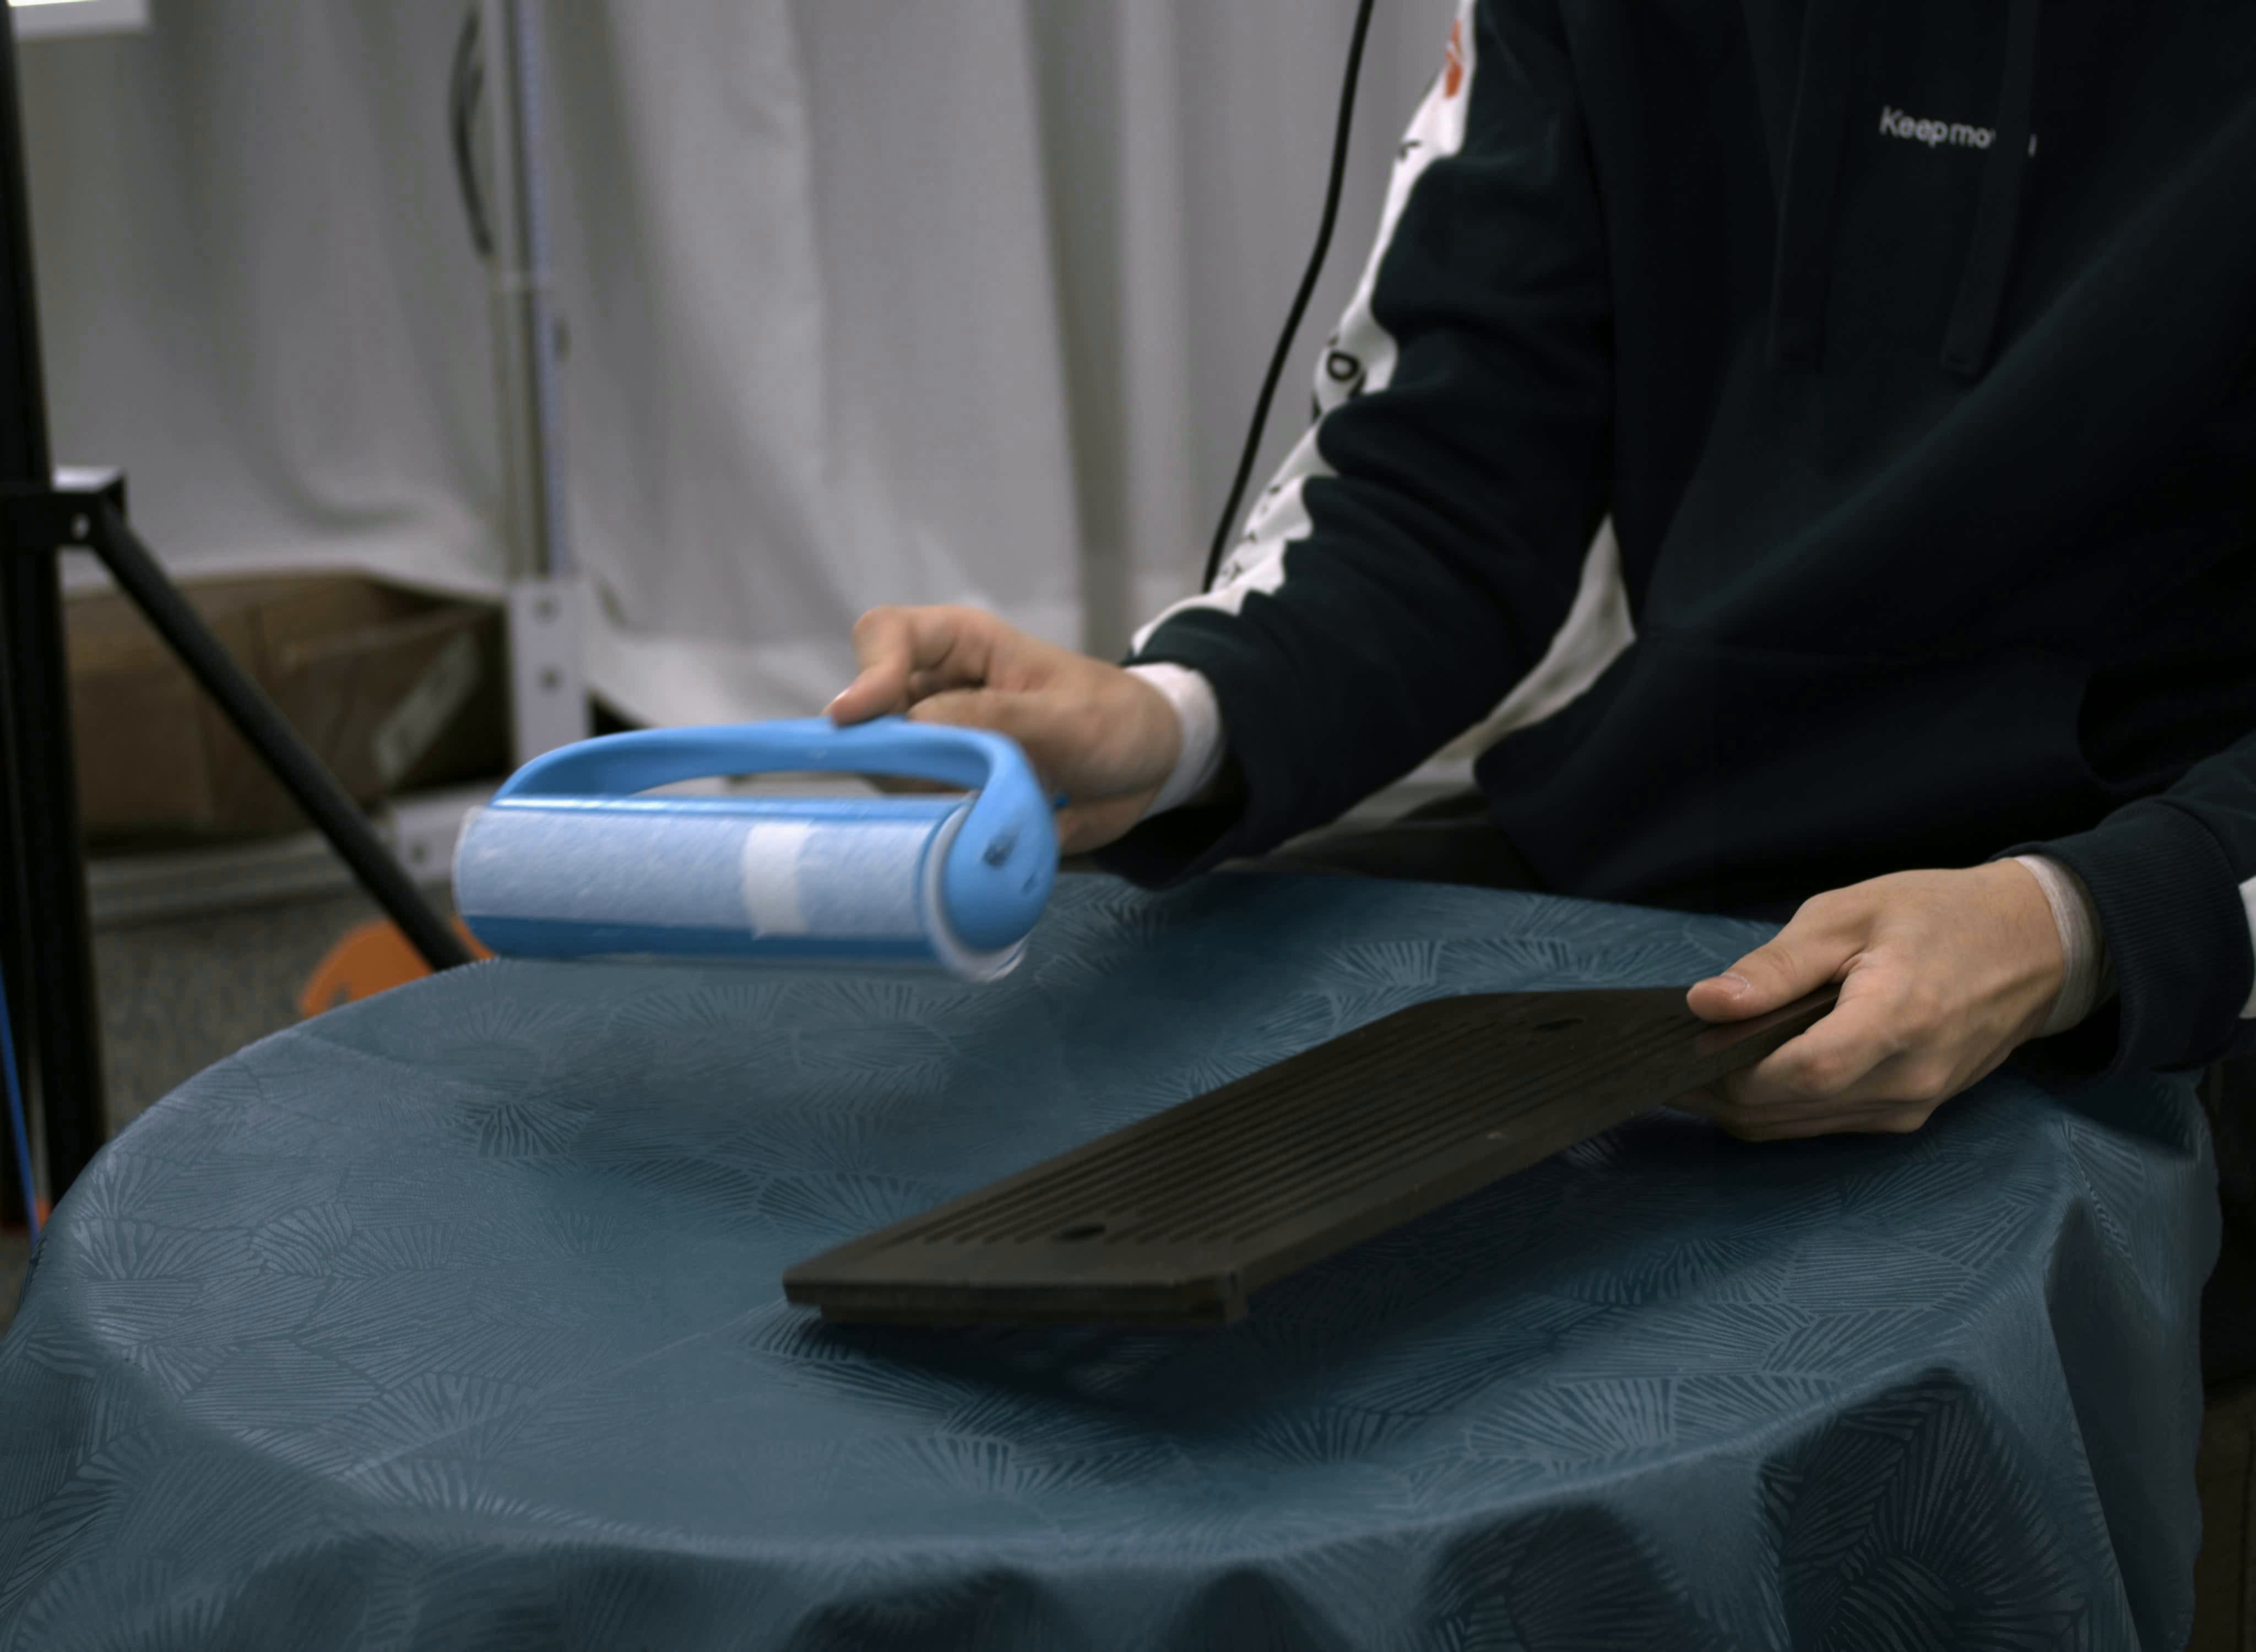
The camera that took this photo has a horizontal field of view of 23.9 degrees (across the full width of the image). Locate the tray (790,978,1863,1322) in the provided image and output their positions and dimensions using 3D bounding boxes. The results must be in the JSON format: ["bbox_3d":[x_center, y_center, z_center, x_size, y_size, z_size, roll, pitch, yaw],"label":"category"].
[{"bbox_3d":[0.062,0.091,1.504,0.173,0.018,0.299,-4,11,44],"label":"tray"}]

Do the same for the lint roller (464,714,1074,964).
[{"bbox_3d":[-0.082,-0.005,1.668,0.233,0.068,0.177,-3,16,37],"label":"lint roller"}]
